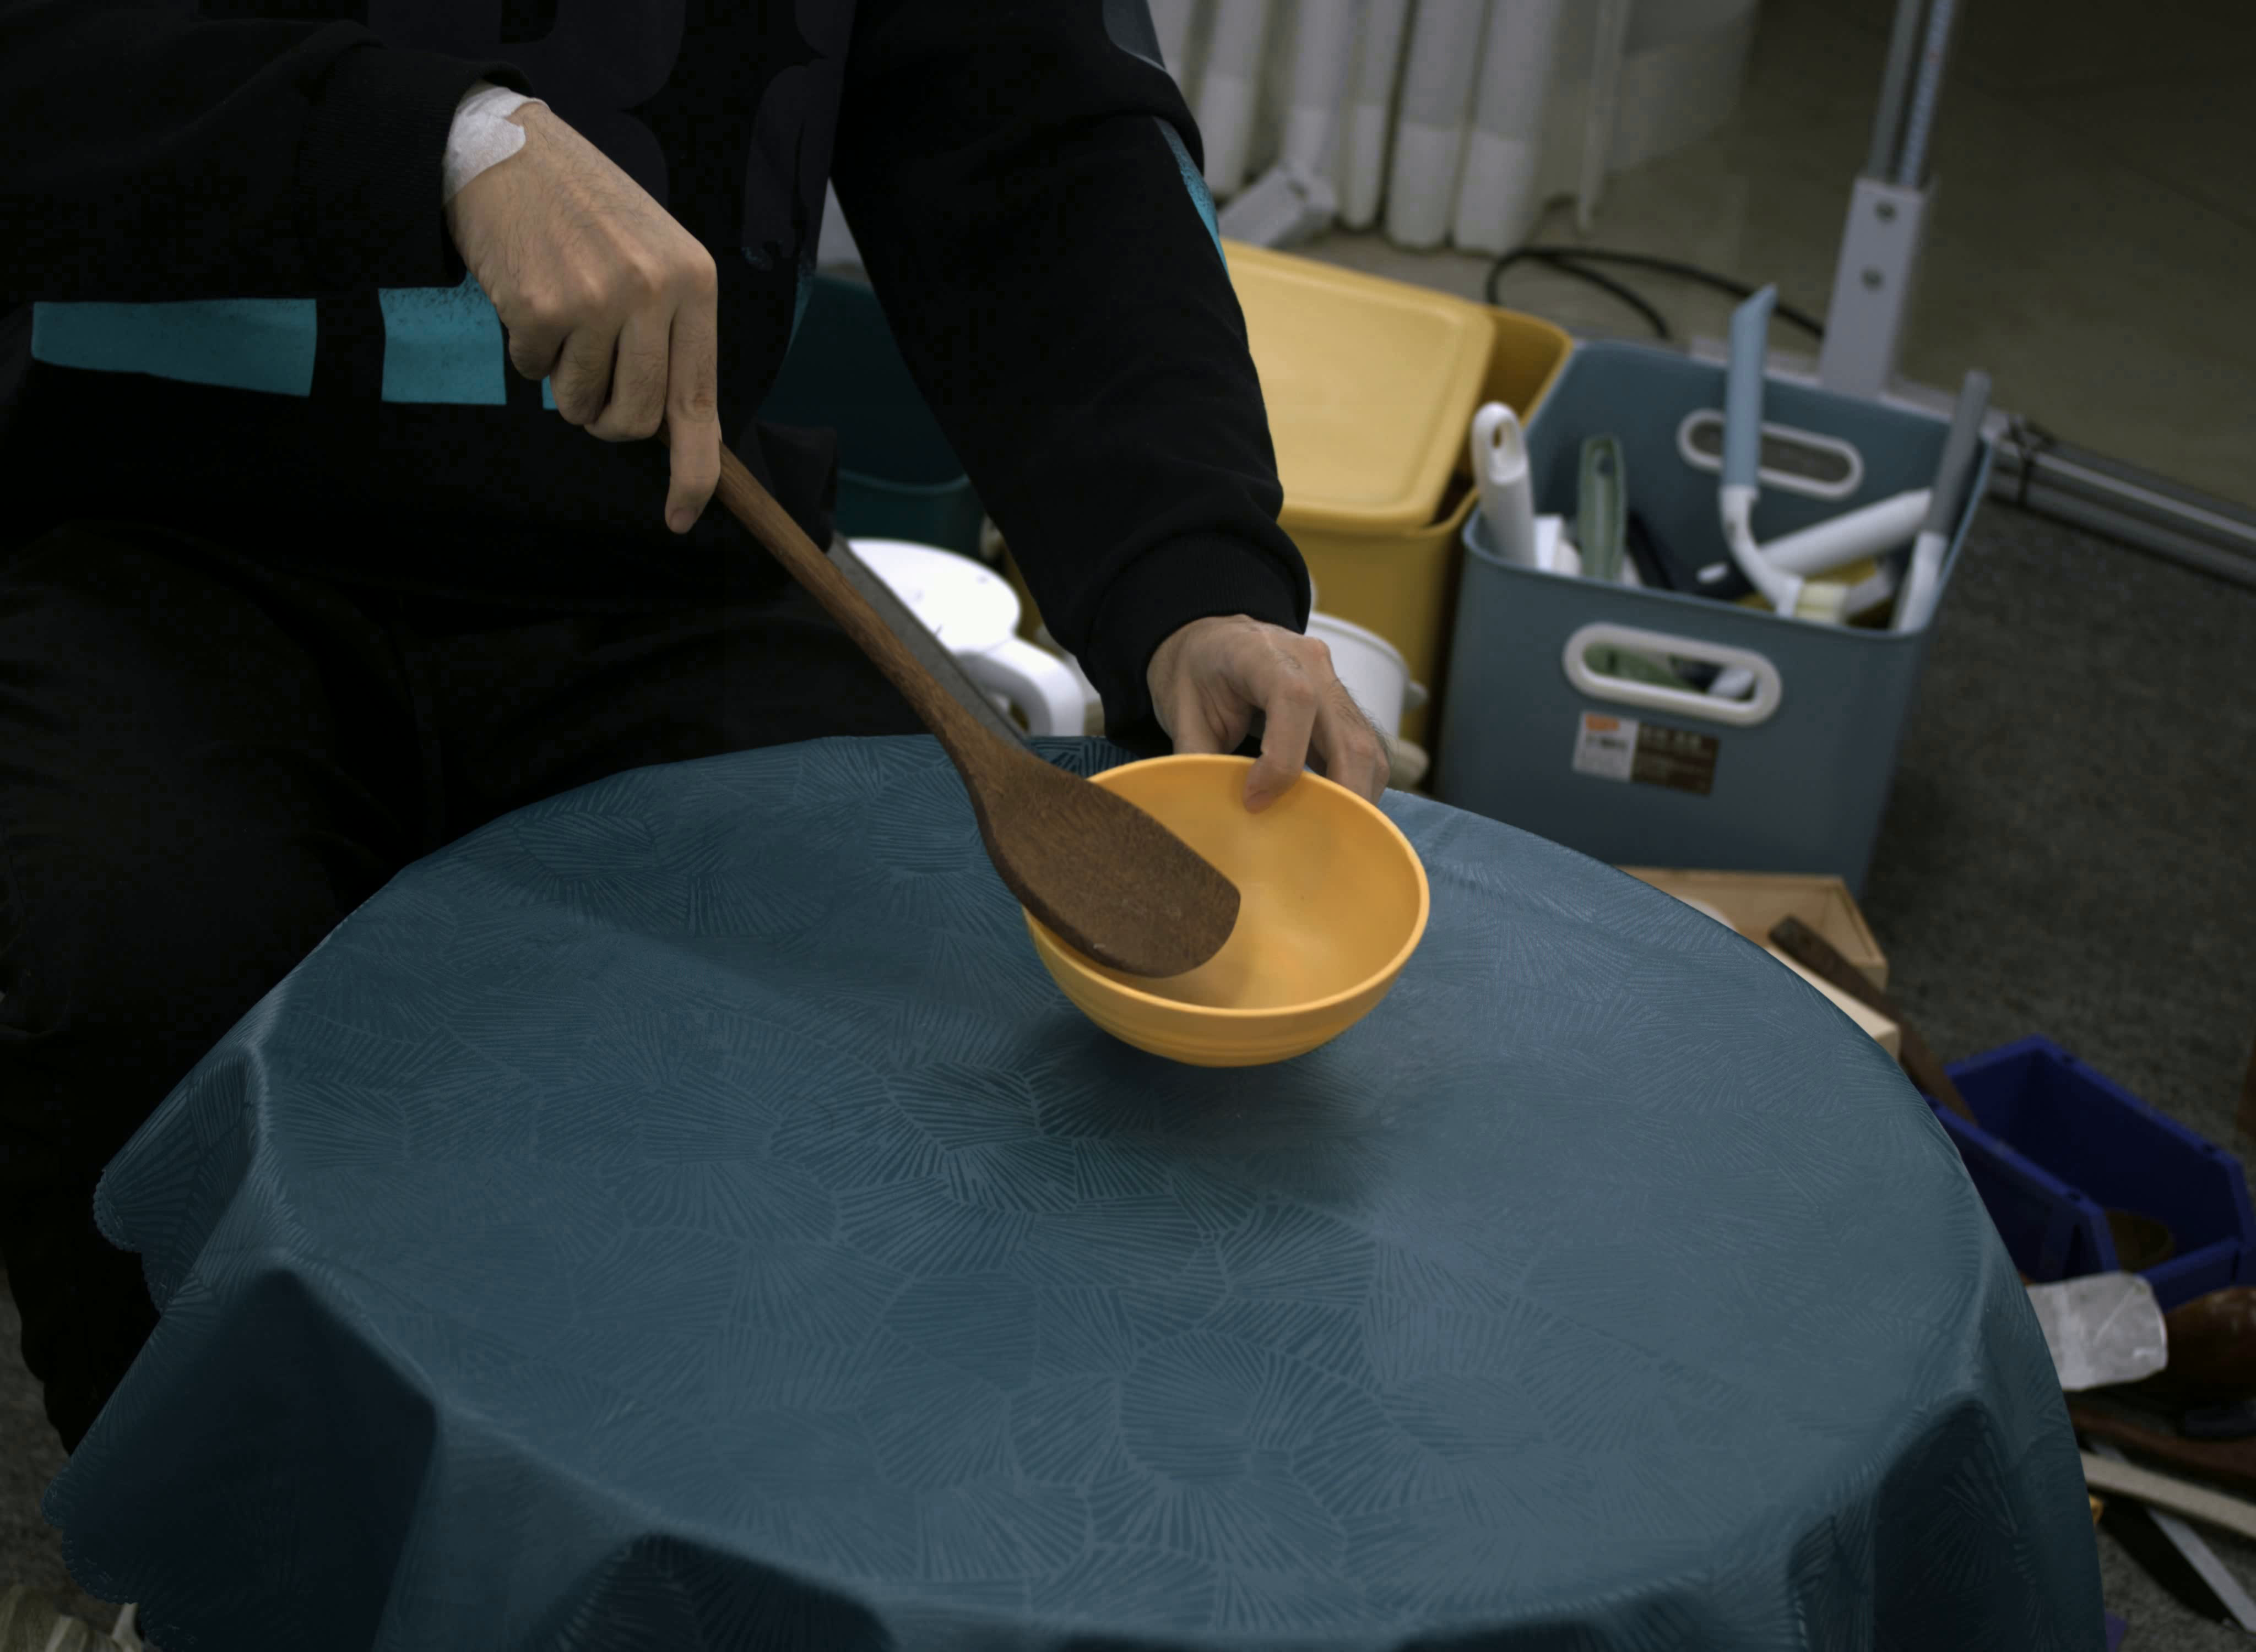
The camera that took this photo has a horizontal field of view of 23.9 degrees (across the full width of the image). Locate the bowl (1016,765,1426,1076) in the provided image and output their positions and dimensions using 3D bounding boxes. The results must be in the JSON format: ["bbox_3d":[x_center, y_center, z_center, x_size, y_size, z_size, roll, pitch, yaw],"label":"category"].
[{"bbox_3d":[0.030,0.044,1.867,0.145,0.060,0.146,4,36,-4],"label":"bowl"}]

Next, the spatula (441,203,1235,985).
[{"bbox_3d":[-0.109,-0.086,1.870,0.387,0.016,0.096,46,32,9],"label":"spatula"}]
